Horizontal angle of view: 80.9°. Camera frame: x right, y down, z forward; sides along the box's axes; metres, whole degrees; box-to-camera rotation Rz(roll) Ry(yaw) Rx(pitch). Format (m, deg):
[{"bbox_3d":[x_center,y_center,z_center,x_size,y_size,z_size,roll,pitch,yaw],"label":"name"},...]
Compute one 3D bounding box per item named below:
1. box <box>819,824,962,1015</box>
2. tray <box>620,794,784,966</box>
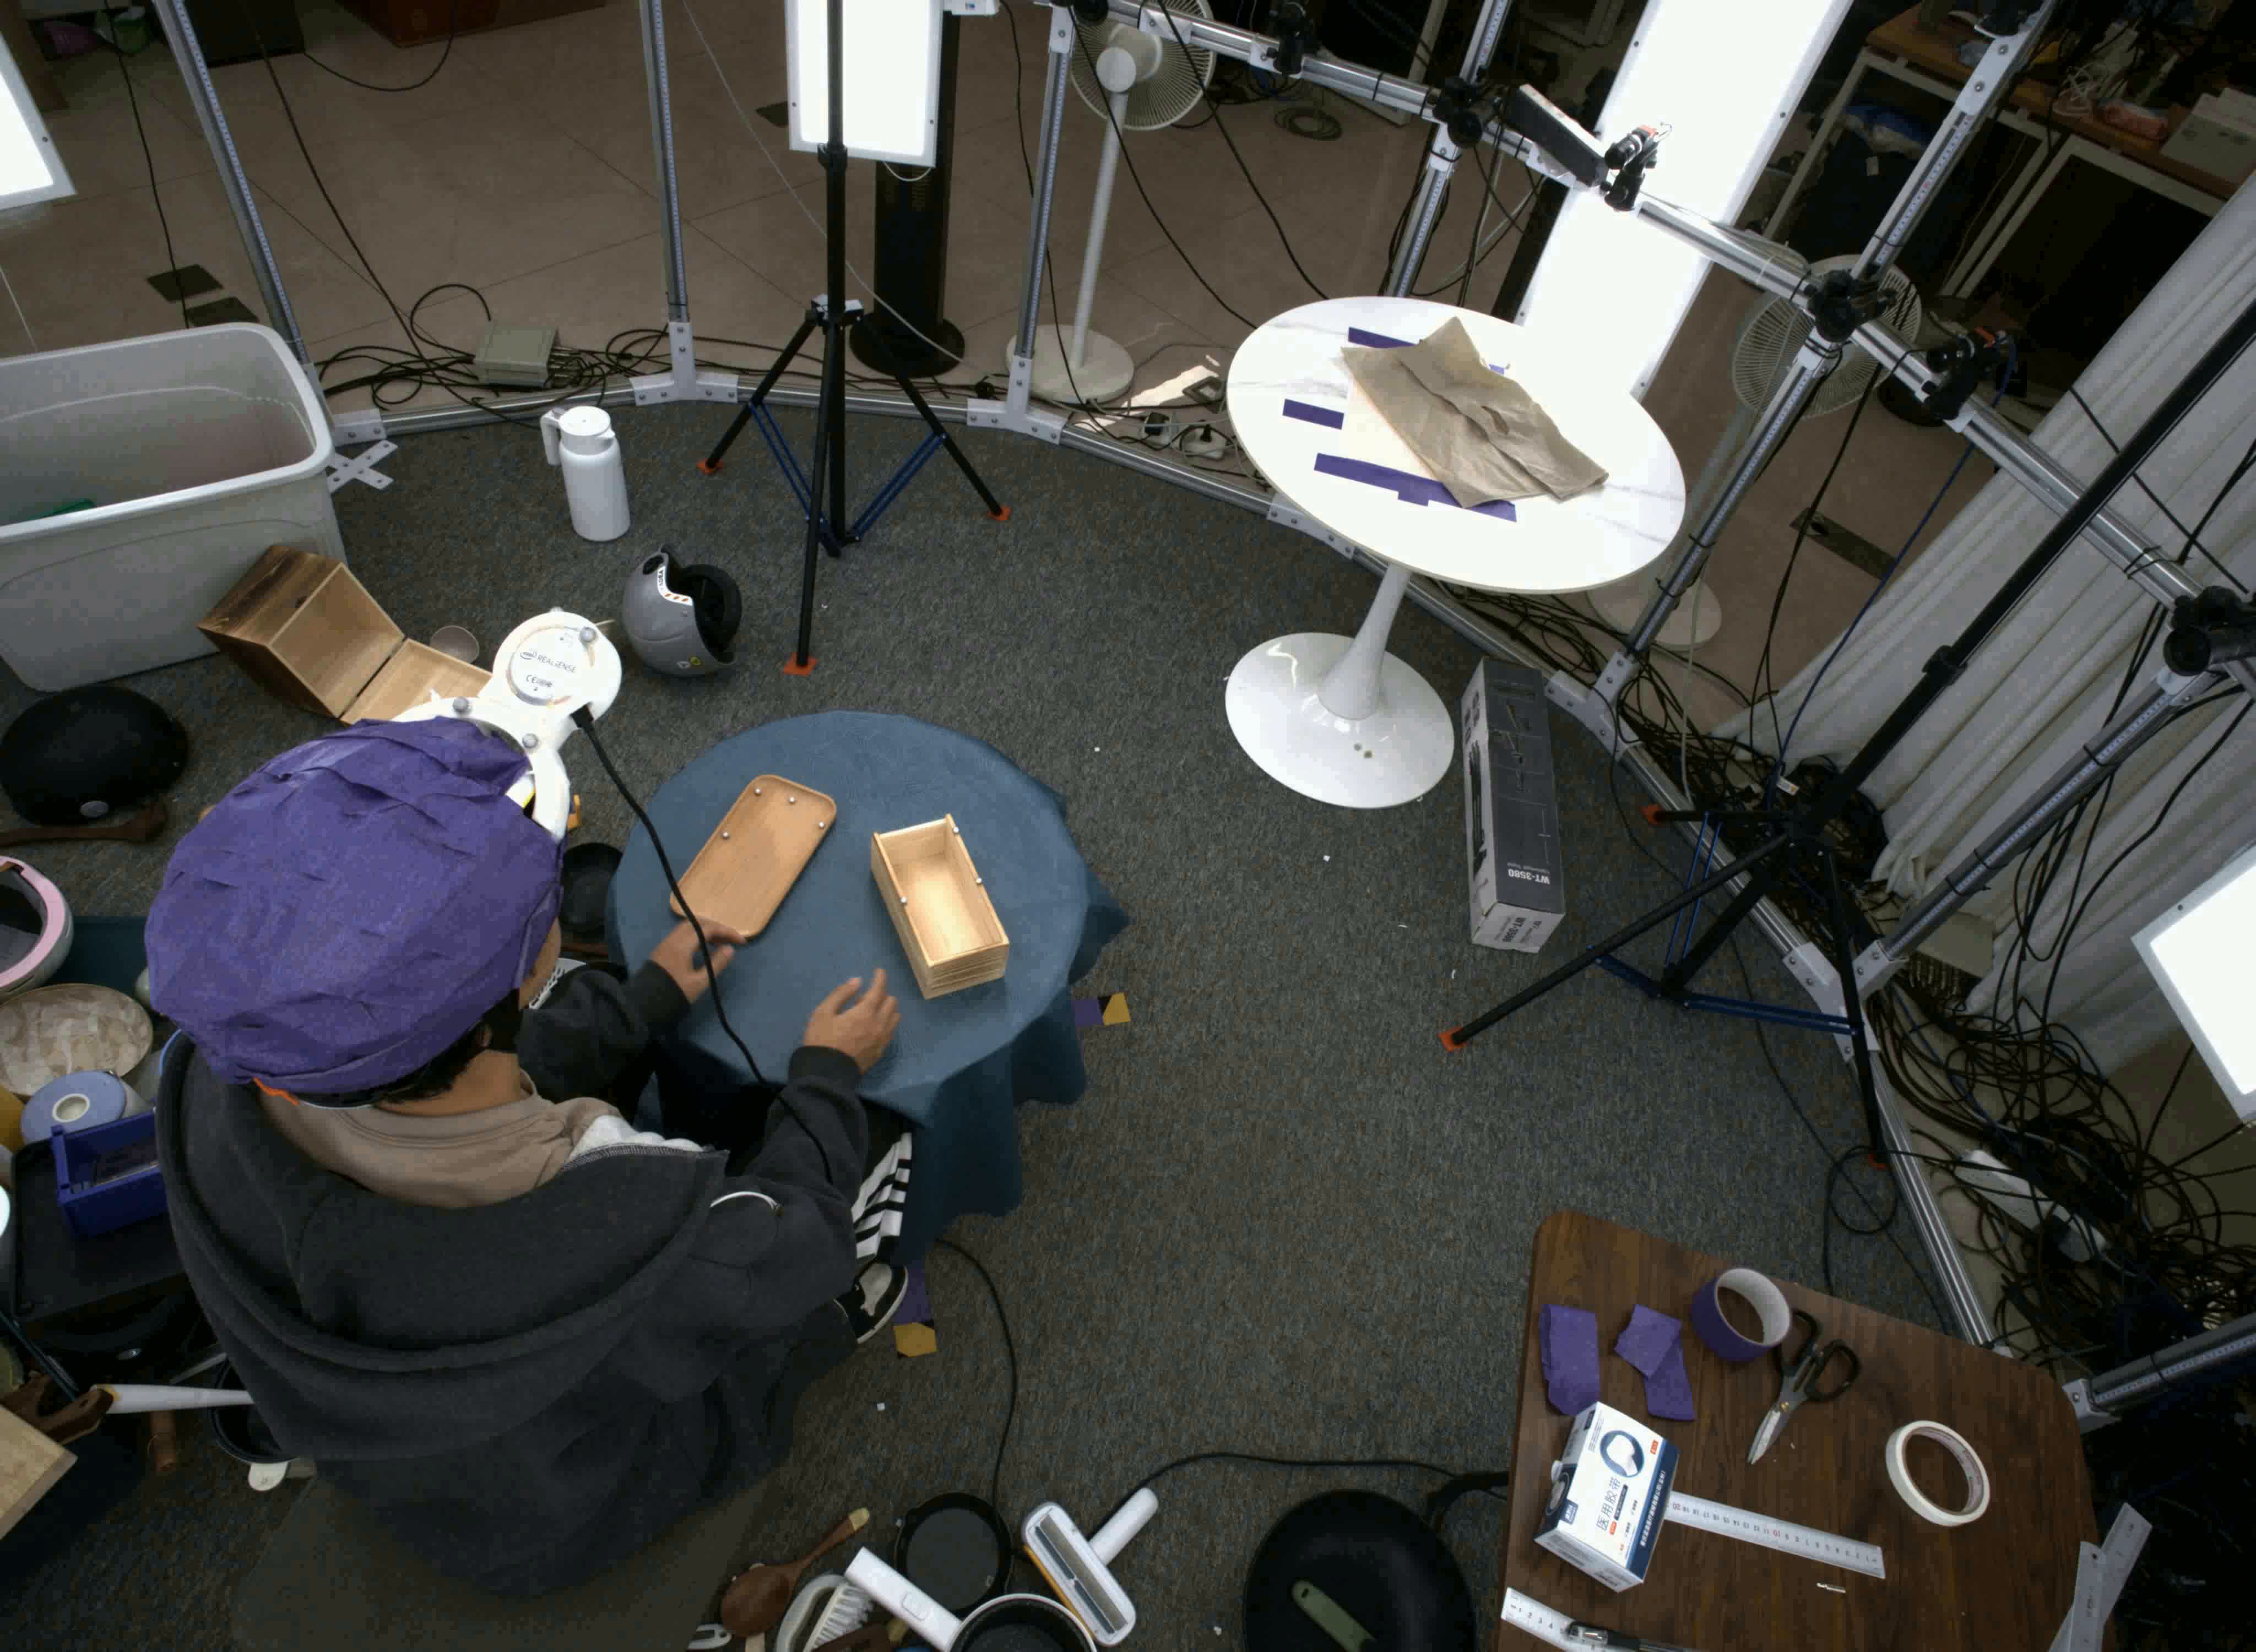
[{"bbox_3d":[-0.299,0.113,1.626,0.108,0.082,0.206,-19,60,-25],"label":"box"},{"bbox_3d":[-0.540,0.064,1.640,0.129,0.023,0.248,18,52,3],"label":"tray"}]
